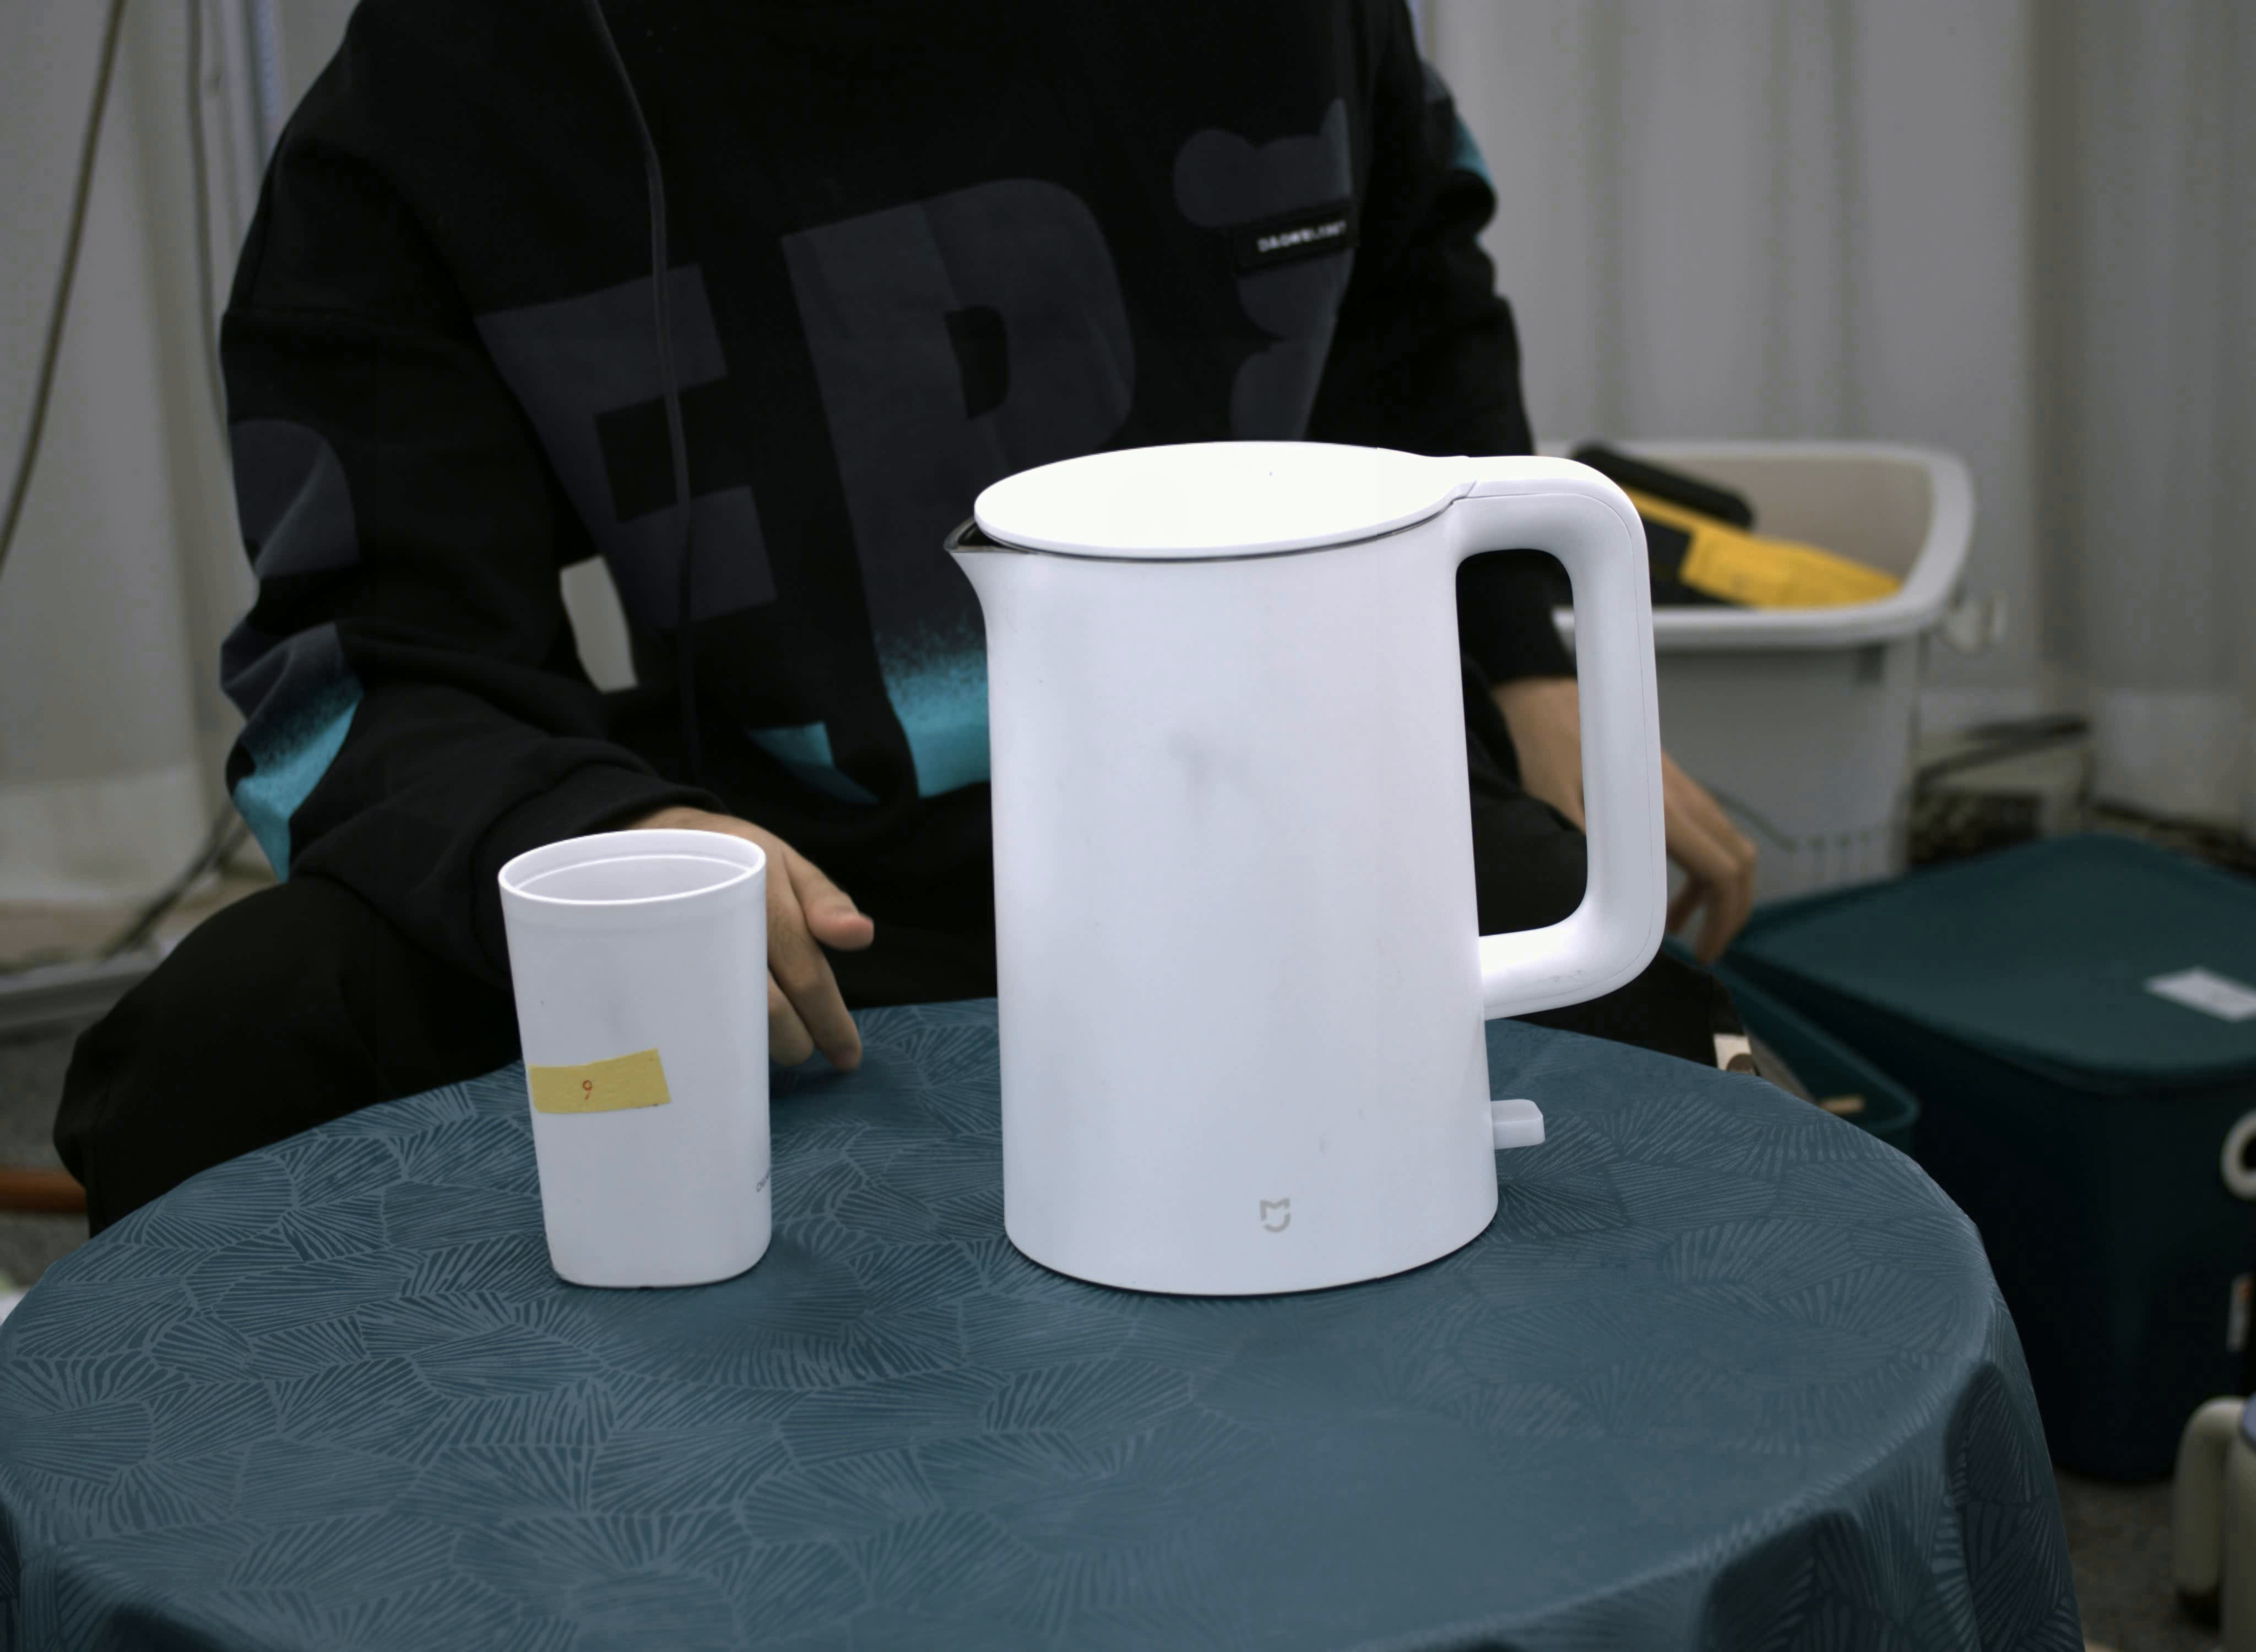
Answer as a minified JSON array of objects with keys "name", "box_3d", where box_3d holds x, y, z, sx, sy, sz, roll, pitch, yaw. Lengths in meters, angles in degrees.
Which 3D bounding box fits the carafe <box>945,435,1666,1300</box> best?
[{"name":"carafe","box_3d":[0.057,0.007,1.658,0.212,0.239,0.153,-5,15,-6]}]

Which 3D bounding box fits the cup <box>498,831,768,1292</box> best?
[{"name":"cup","box_3d":[-0.146,0.072,1.664,0.081,0.125,0.082,-2,13,0]}]
